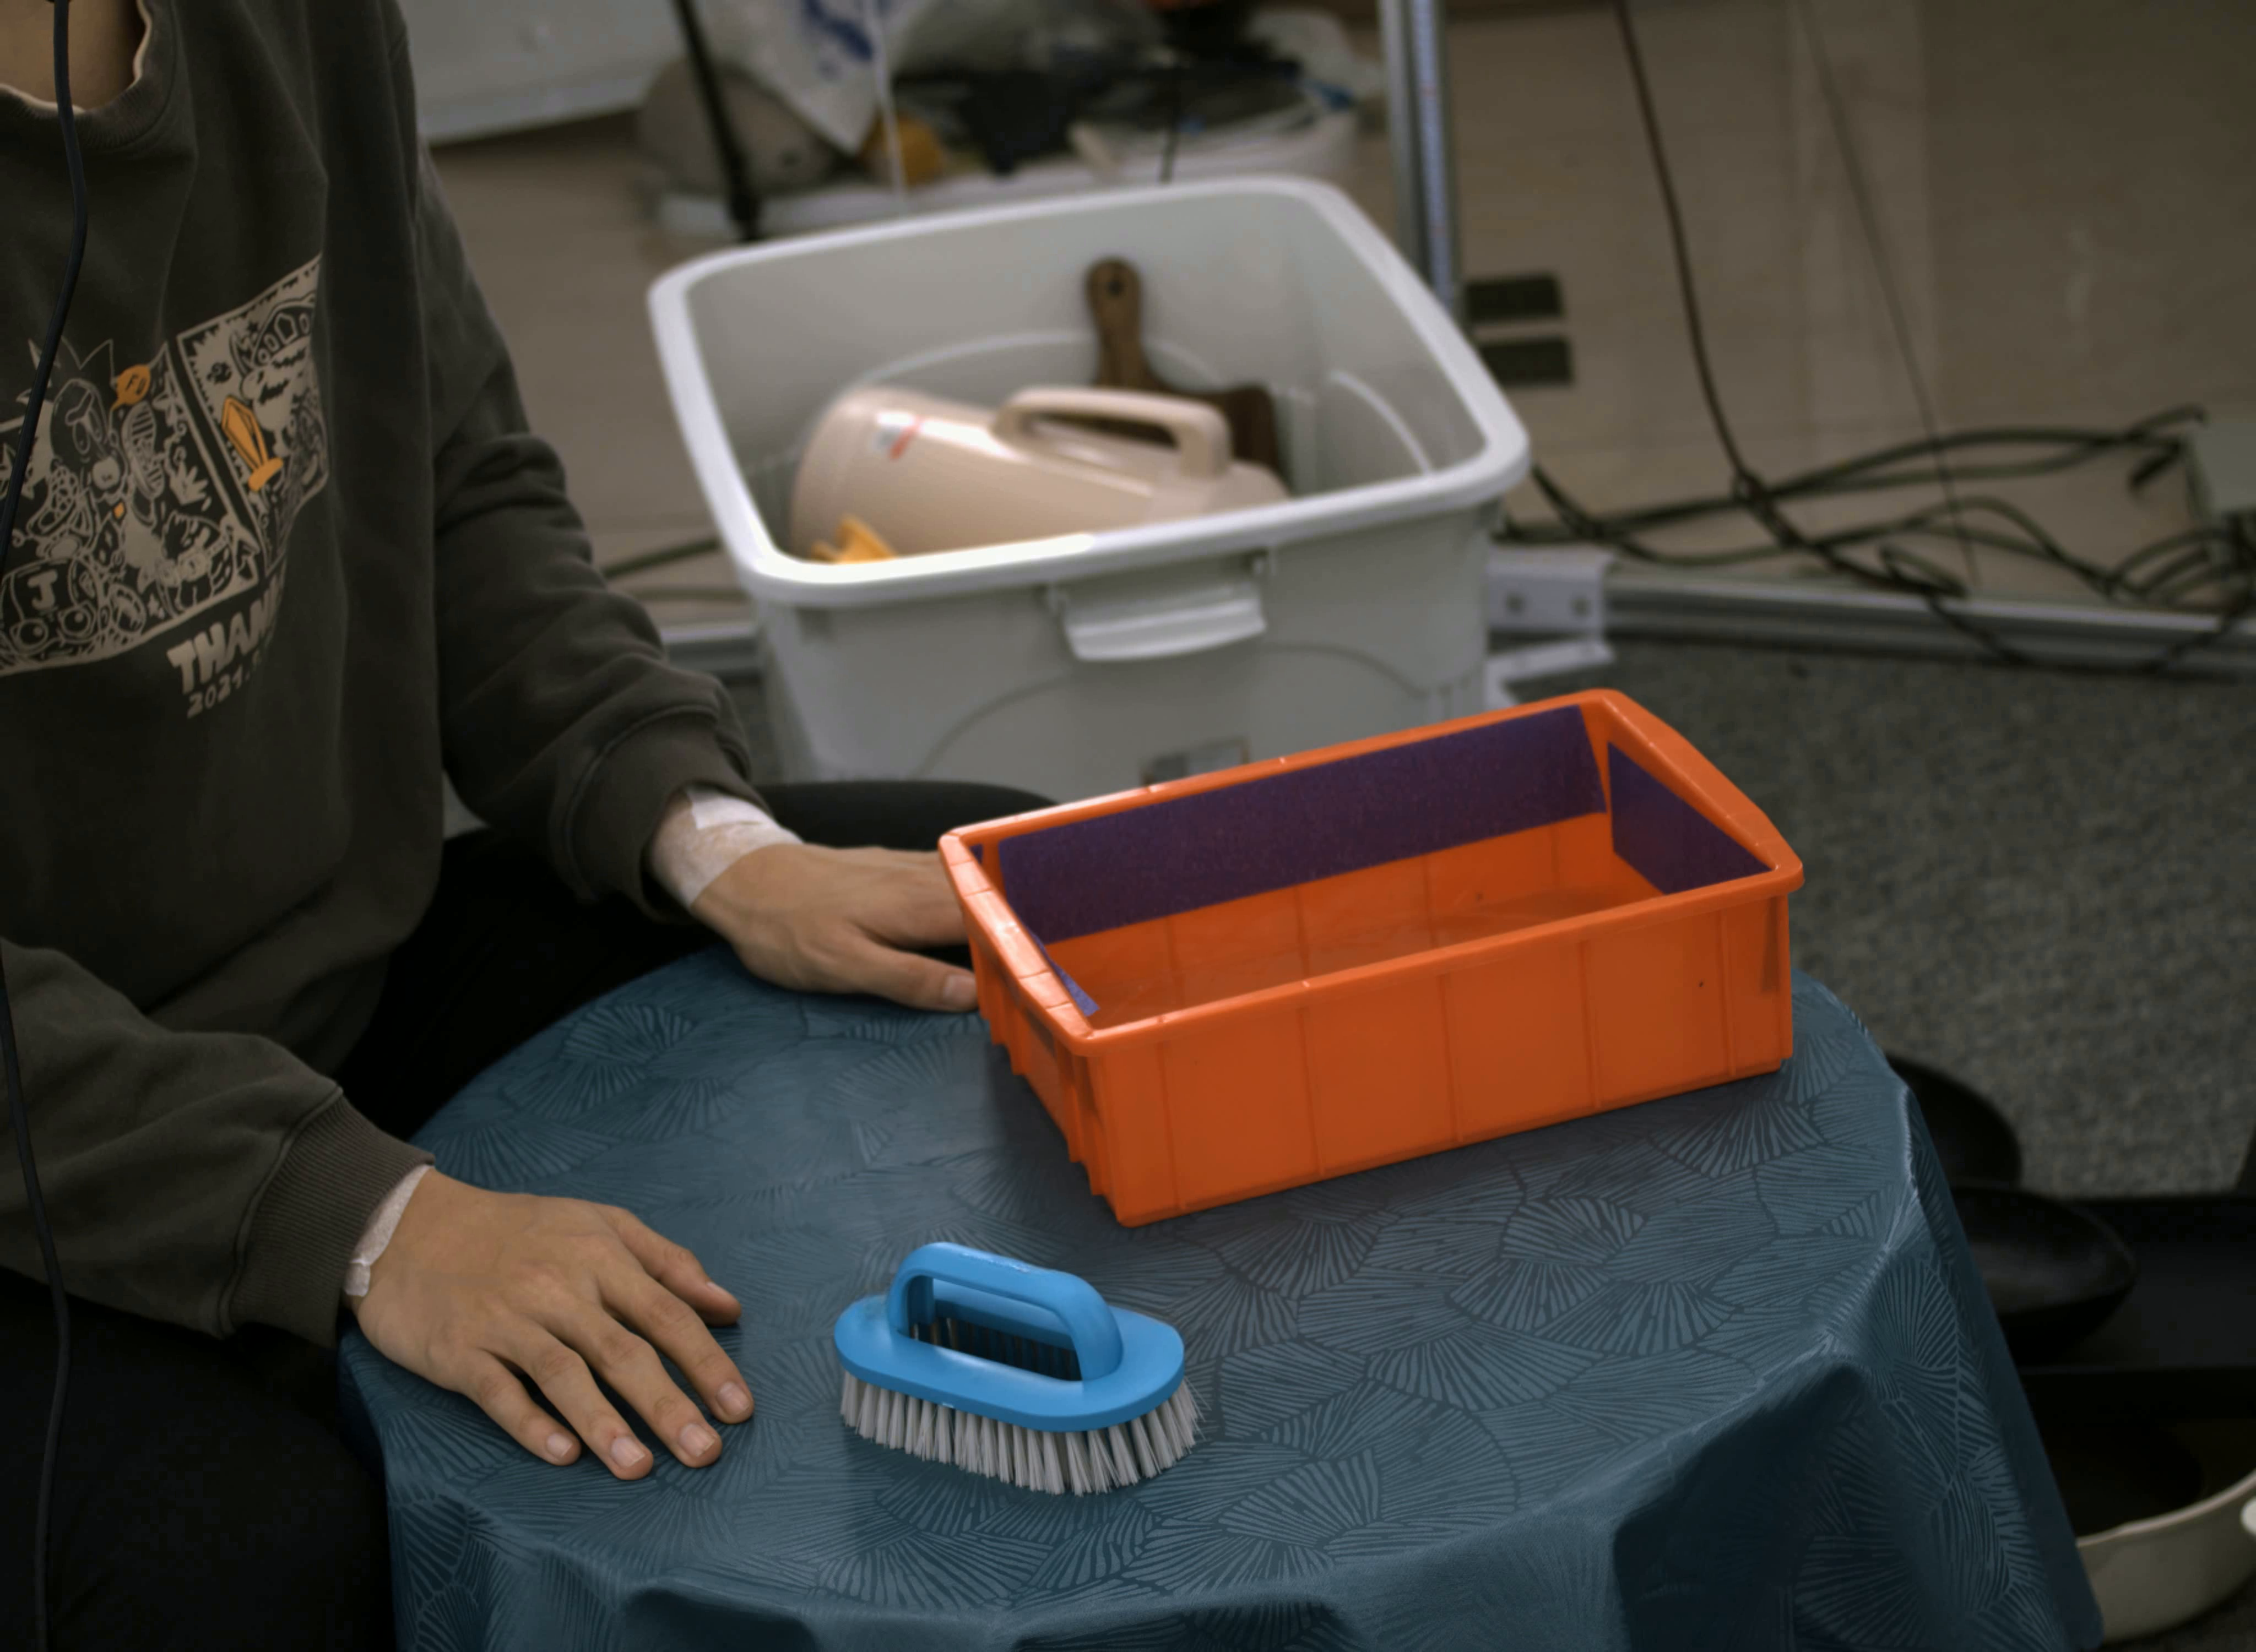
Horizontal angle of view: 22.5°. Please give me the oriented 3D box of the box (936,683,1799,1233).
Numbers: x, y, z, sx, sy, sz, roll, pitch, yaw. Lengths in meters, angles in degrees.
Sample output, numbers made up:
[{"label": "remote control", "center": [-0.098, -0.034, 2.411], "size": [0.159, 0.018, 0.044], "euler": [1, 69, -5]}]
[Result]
[{"label": "box", "center": [0.093, 0.051, 2.210], "size": [0.303, 0.098, 0.204], "euler": [-12, 26, -12]}]

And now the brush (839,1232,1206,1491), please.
[{"label": "brush", "center": [-0.042, 0.178, 1.995], "size": [0.141, 0.065, 0.083], "euler": [12, 36, 37]}]
